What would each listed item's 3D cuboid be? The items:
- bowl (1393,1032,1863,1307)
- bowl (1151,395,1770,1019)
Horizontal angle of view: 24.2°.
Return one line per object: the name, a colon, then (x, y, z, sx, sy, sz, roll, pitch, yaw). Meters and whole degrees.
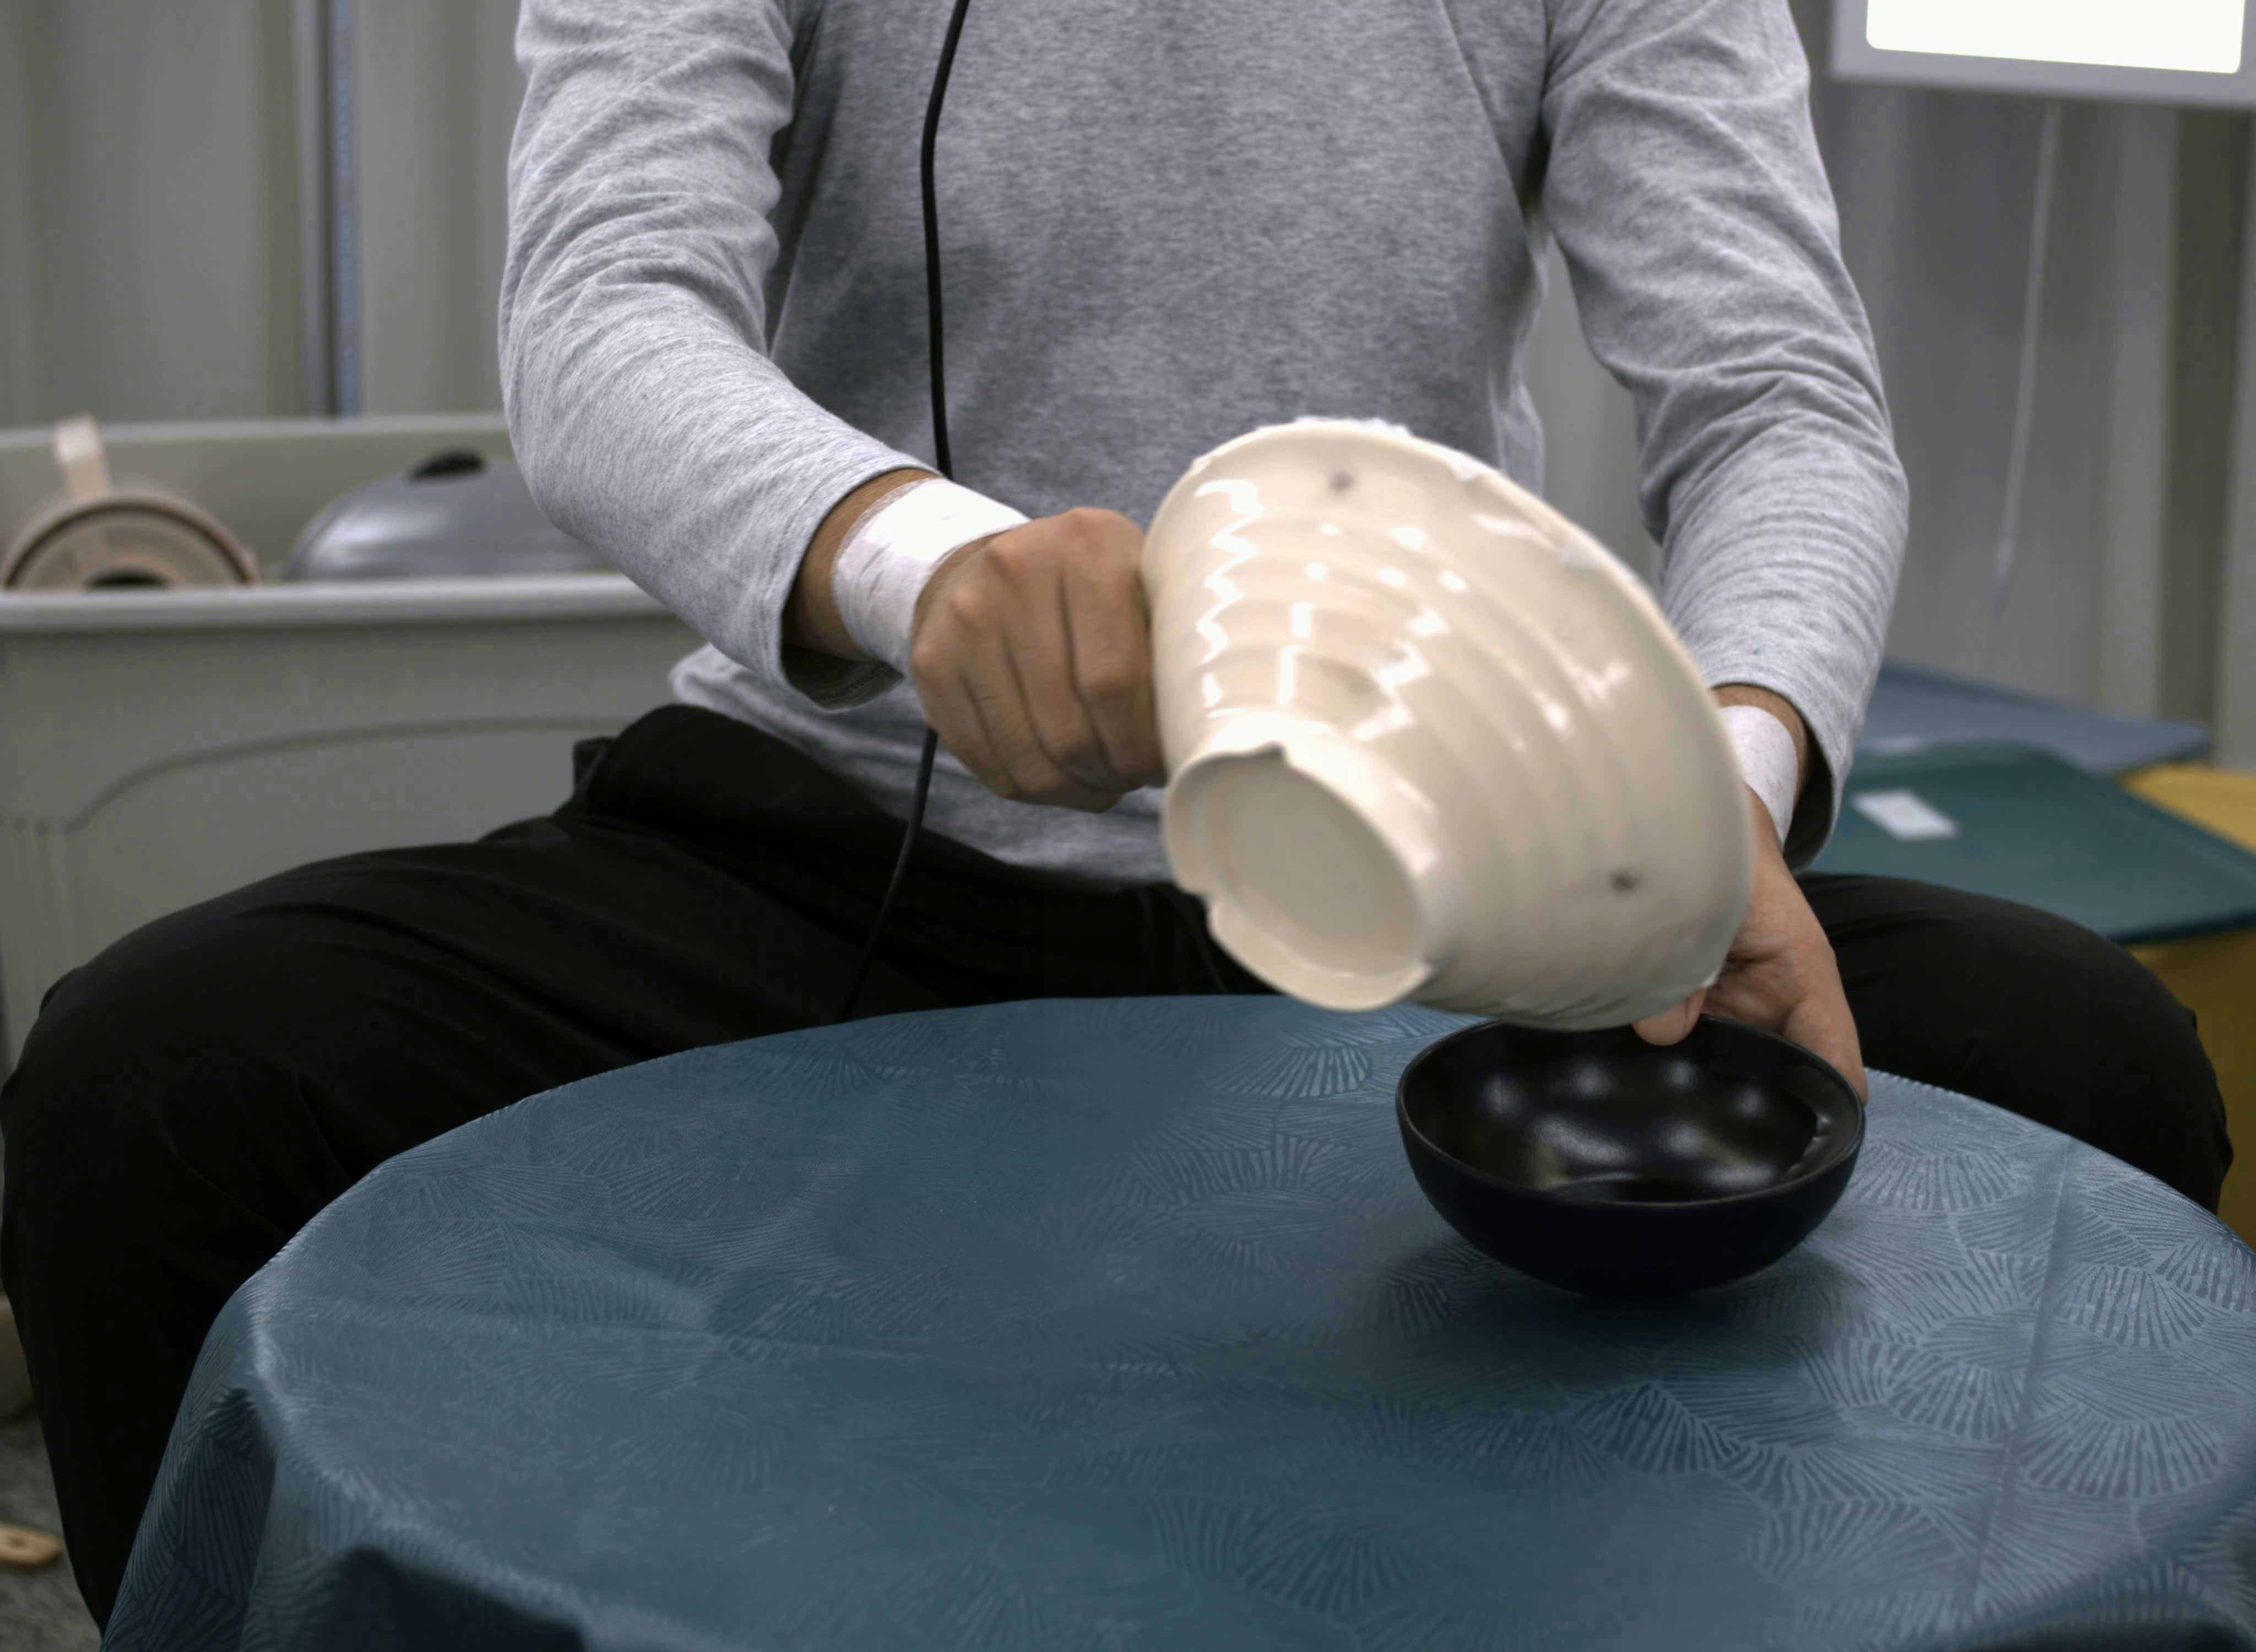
bowl: (0.147, 0.107, 1.560, 0.139, 0.050, 0.139, 1, 17, 0)
bowl: (0.070, -0.011, 1.442, 0.201, 0.207, 0.078, 12, 42, 35)
